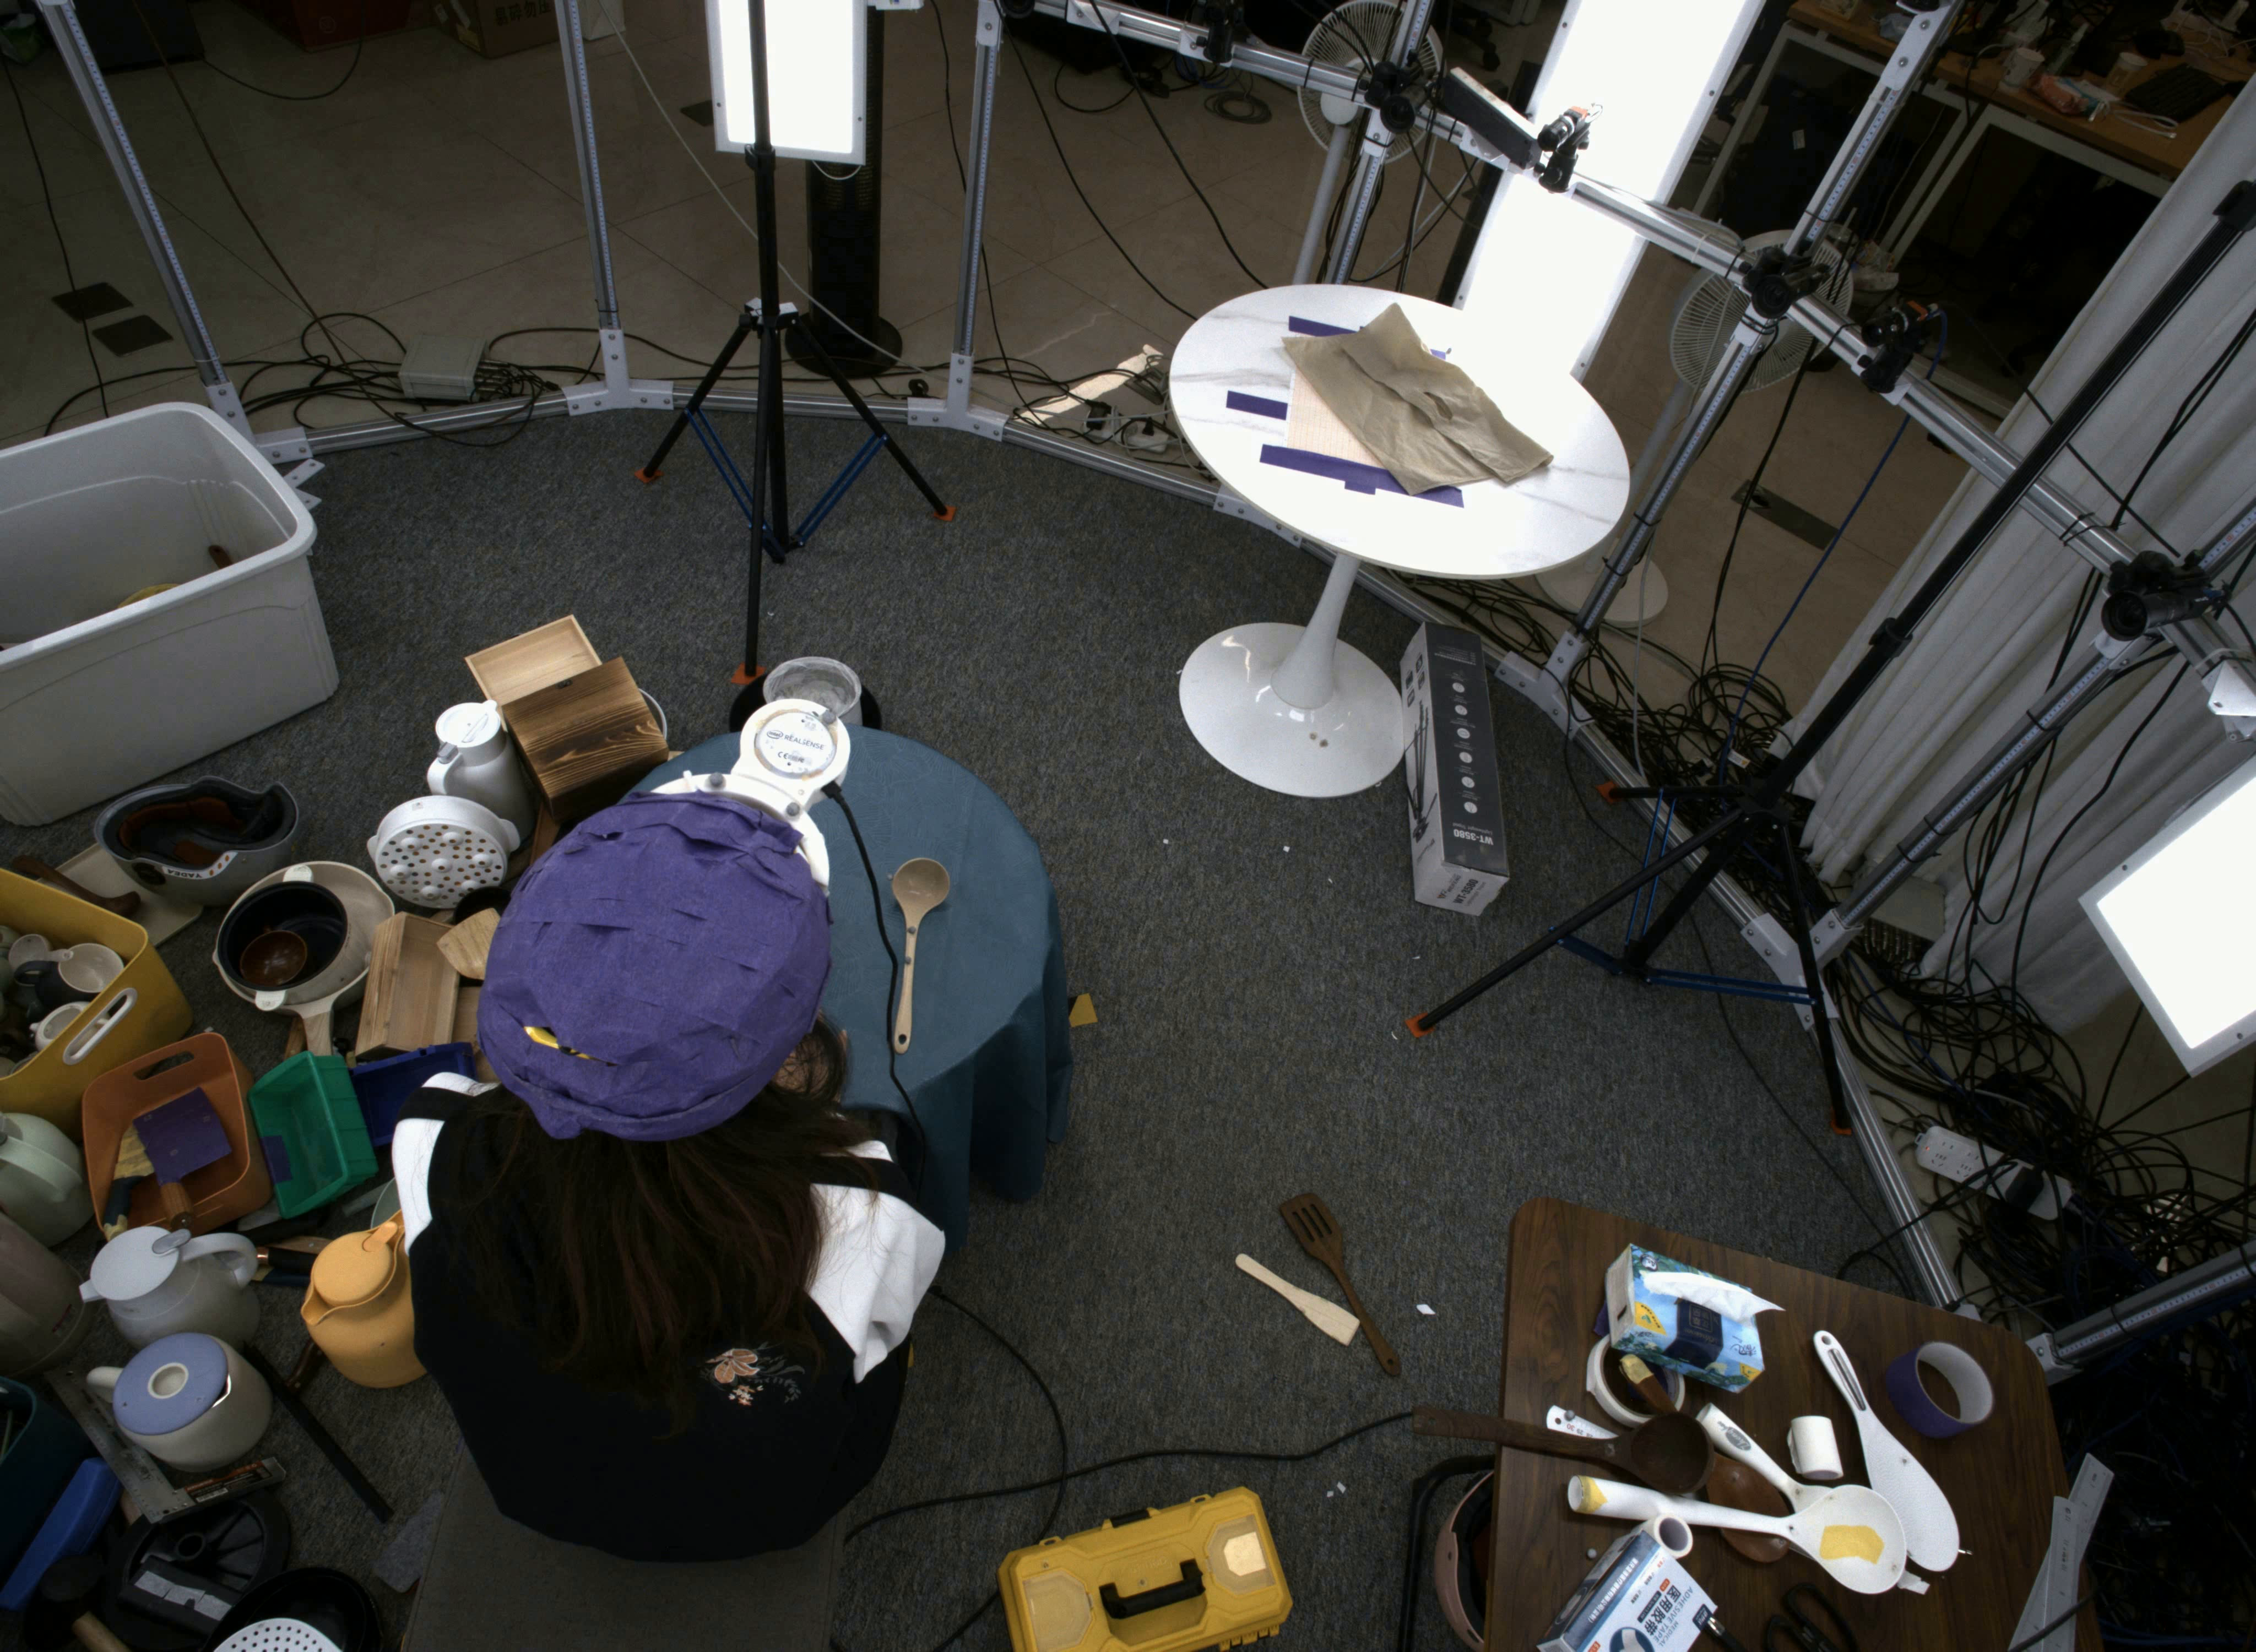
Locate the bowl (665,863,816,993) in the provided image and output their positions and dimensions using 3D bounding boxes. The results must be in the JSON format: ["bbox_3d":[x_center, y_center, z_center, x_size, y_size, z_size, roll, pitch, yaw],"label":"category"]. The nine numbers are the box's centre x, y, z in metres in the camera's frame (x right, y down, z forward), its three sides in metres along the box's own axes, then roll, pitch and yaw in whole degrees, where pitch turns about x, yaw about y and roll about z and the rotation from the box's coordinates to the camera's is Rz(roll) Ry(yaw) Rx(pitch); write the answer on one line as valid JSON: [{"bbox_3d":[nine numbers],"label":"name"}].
[{"bbox_3d":[-0.465,0.132,1.564,0.175,0.072,0.173,7,52,-8],"label":"bowl"}]

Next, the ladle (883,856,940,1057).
[{"bbox_3d":[-0.269,0.150,1.601,0.073,0.073,0.249,11,52,-21],"label":"ladle"}]
